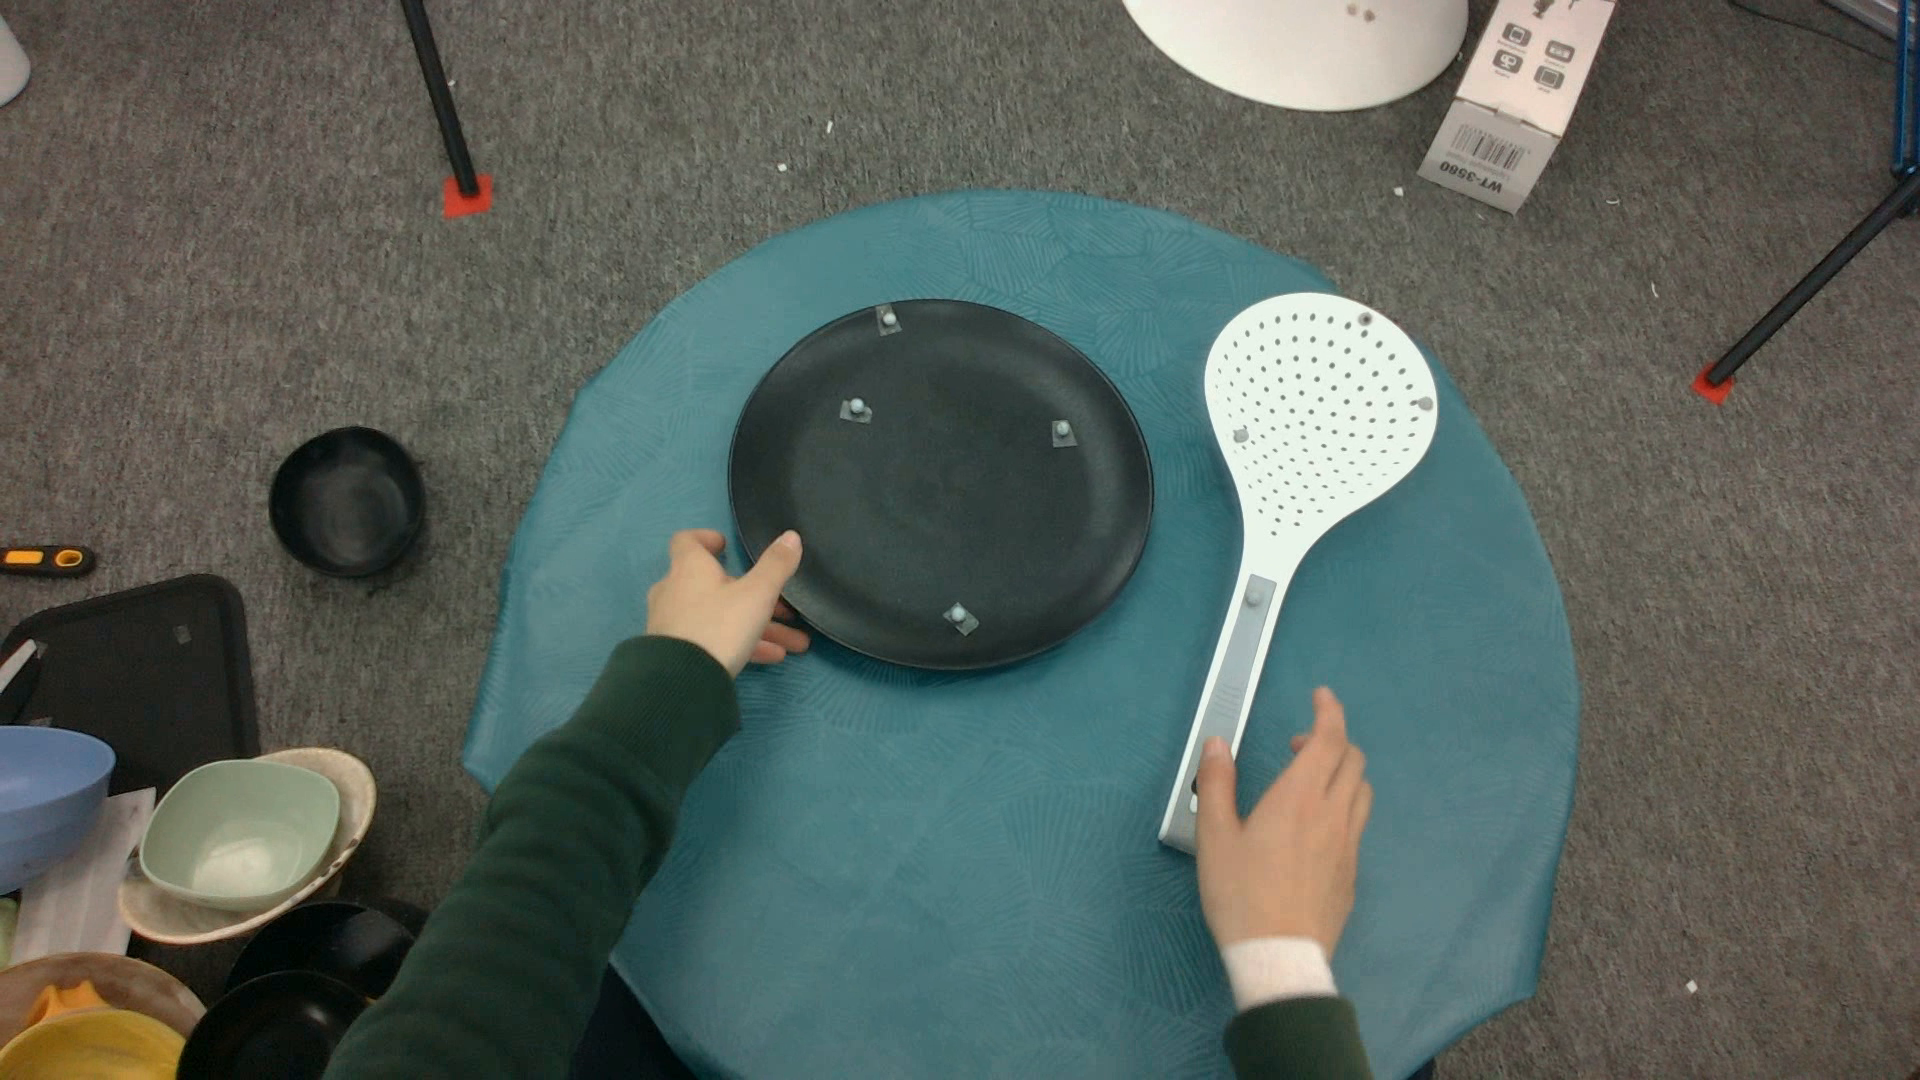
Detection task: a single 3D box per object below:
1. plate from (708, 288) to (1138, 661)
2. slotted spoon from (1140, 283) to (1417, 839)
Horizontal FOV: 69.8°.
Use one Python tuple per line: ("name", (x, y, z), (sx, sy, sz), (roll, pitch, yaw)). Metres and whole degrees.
("plate", (-0.020, -0.041, 0.786), (0.244, 0.023, 0.245), (3, 62, -6))
("slotted spoon", (0.165, 0.001, 0.775), (0.136, 0.045, 0.351), (19, 62, 5))
